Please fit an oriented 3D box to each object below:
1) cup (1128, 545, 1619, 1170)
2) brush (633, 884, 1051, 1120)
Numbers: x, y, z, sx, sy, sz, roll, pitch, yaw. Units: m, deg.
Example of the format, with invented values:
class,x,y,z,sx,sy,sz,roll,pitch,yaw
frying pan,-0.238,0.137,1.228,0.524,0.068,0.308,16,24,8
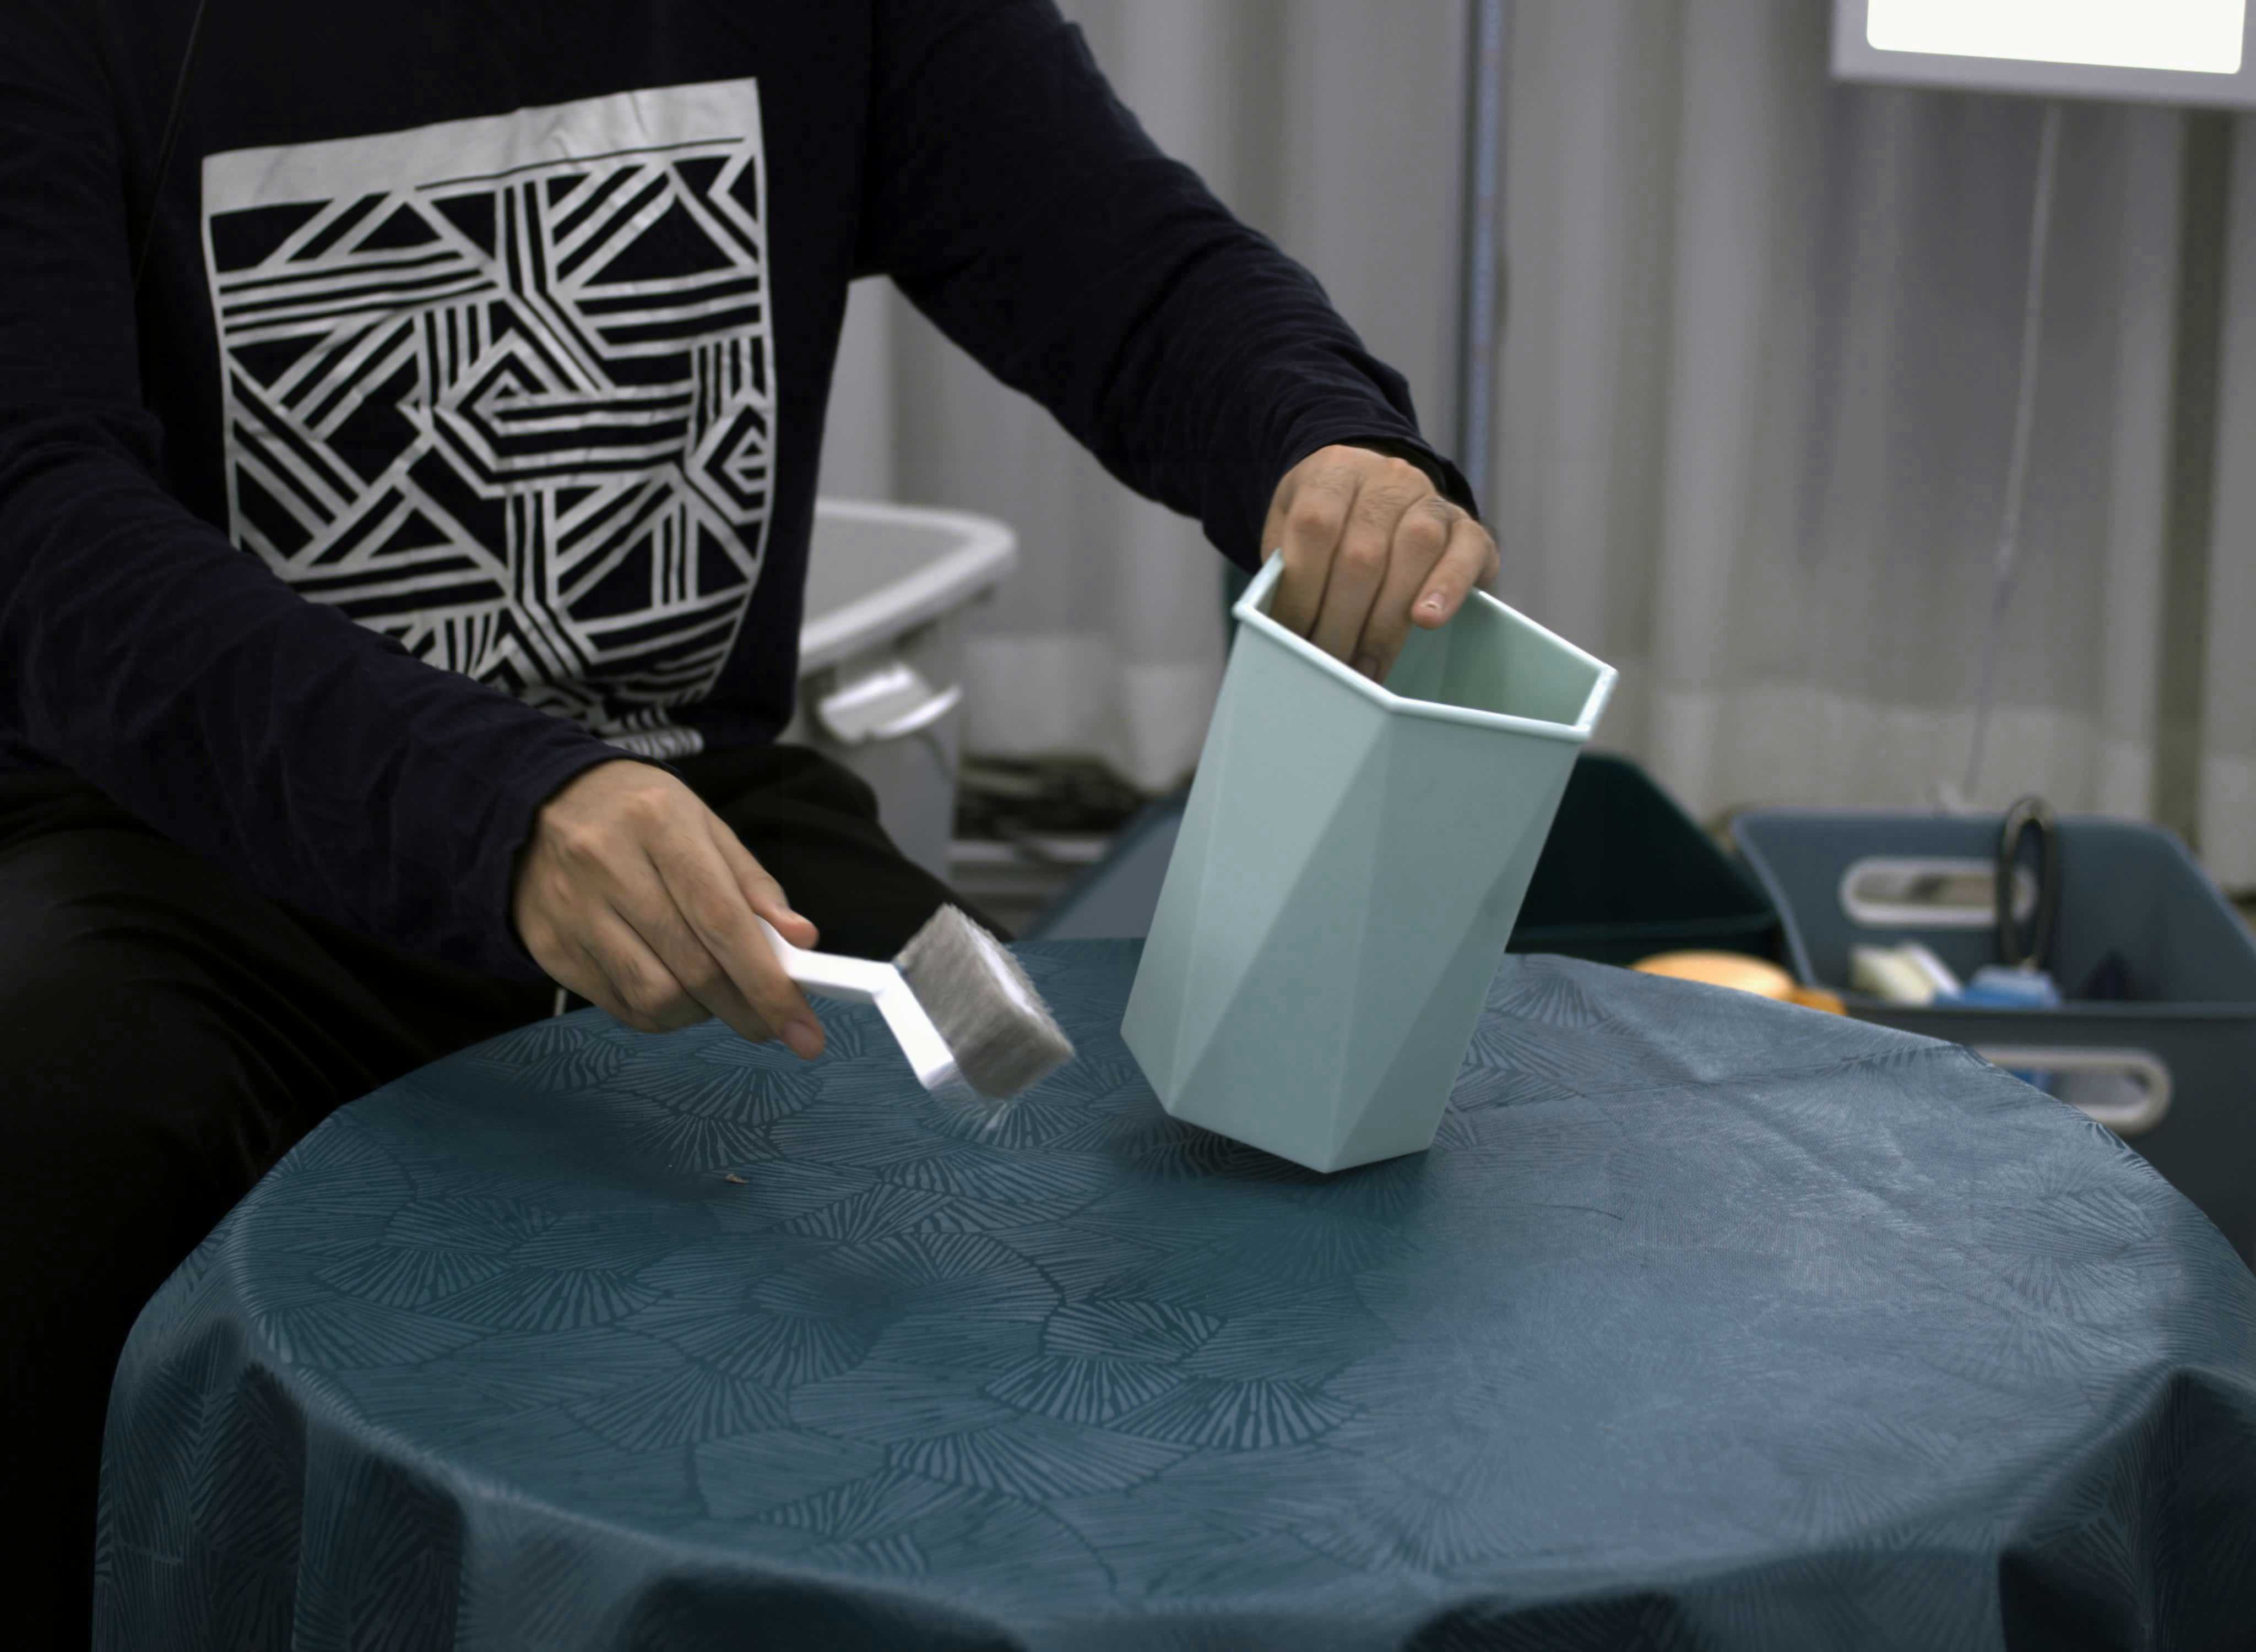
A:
class,x,y,z,sx,sy,sz,roll,pitch,yaw
cup,0.072,0.012,1.641,0.115,0.164,0.130,19,22,3
brush,-0.089,0.034,1.598,0.035,0.050,0.241,35,-4,-30
